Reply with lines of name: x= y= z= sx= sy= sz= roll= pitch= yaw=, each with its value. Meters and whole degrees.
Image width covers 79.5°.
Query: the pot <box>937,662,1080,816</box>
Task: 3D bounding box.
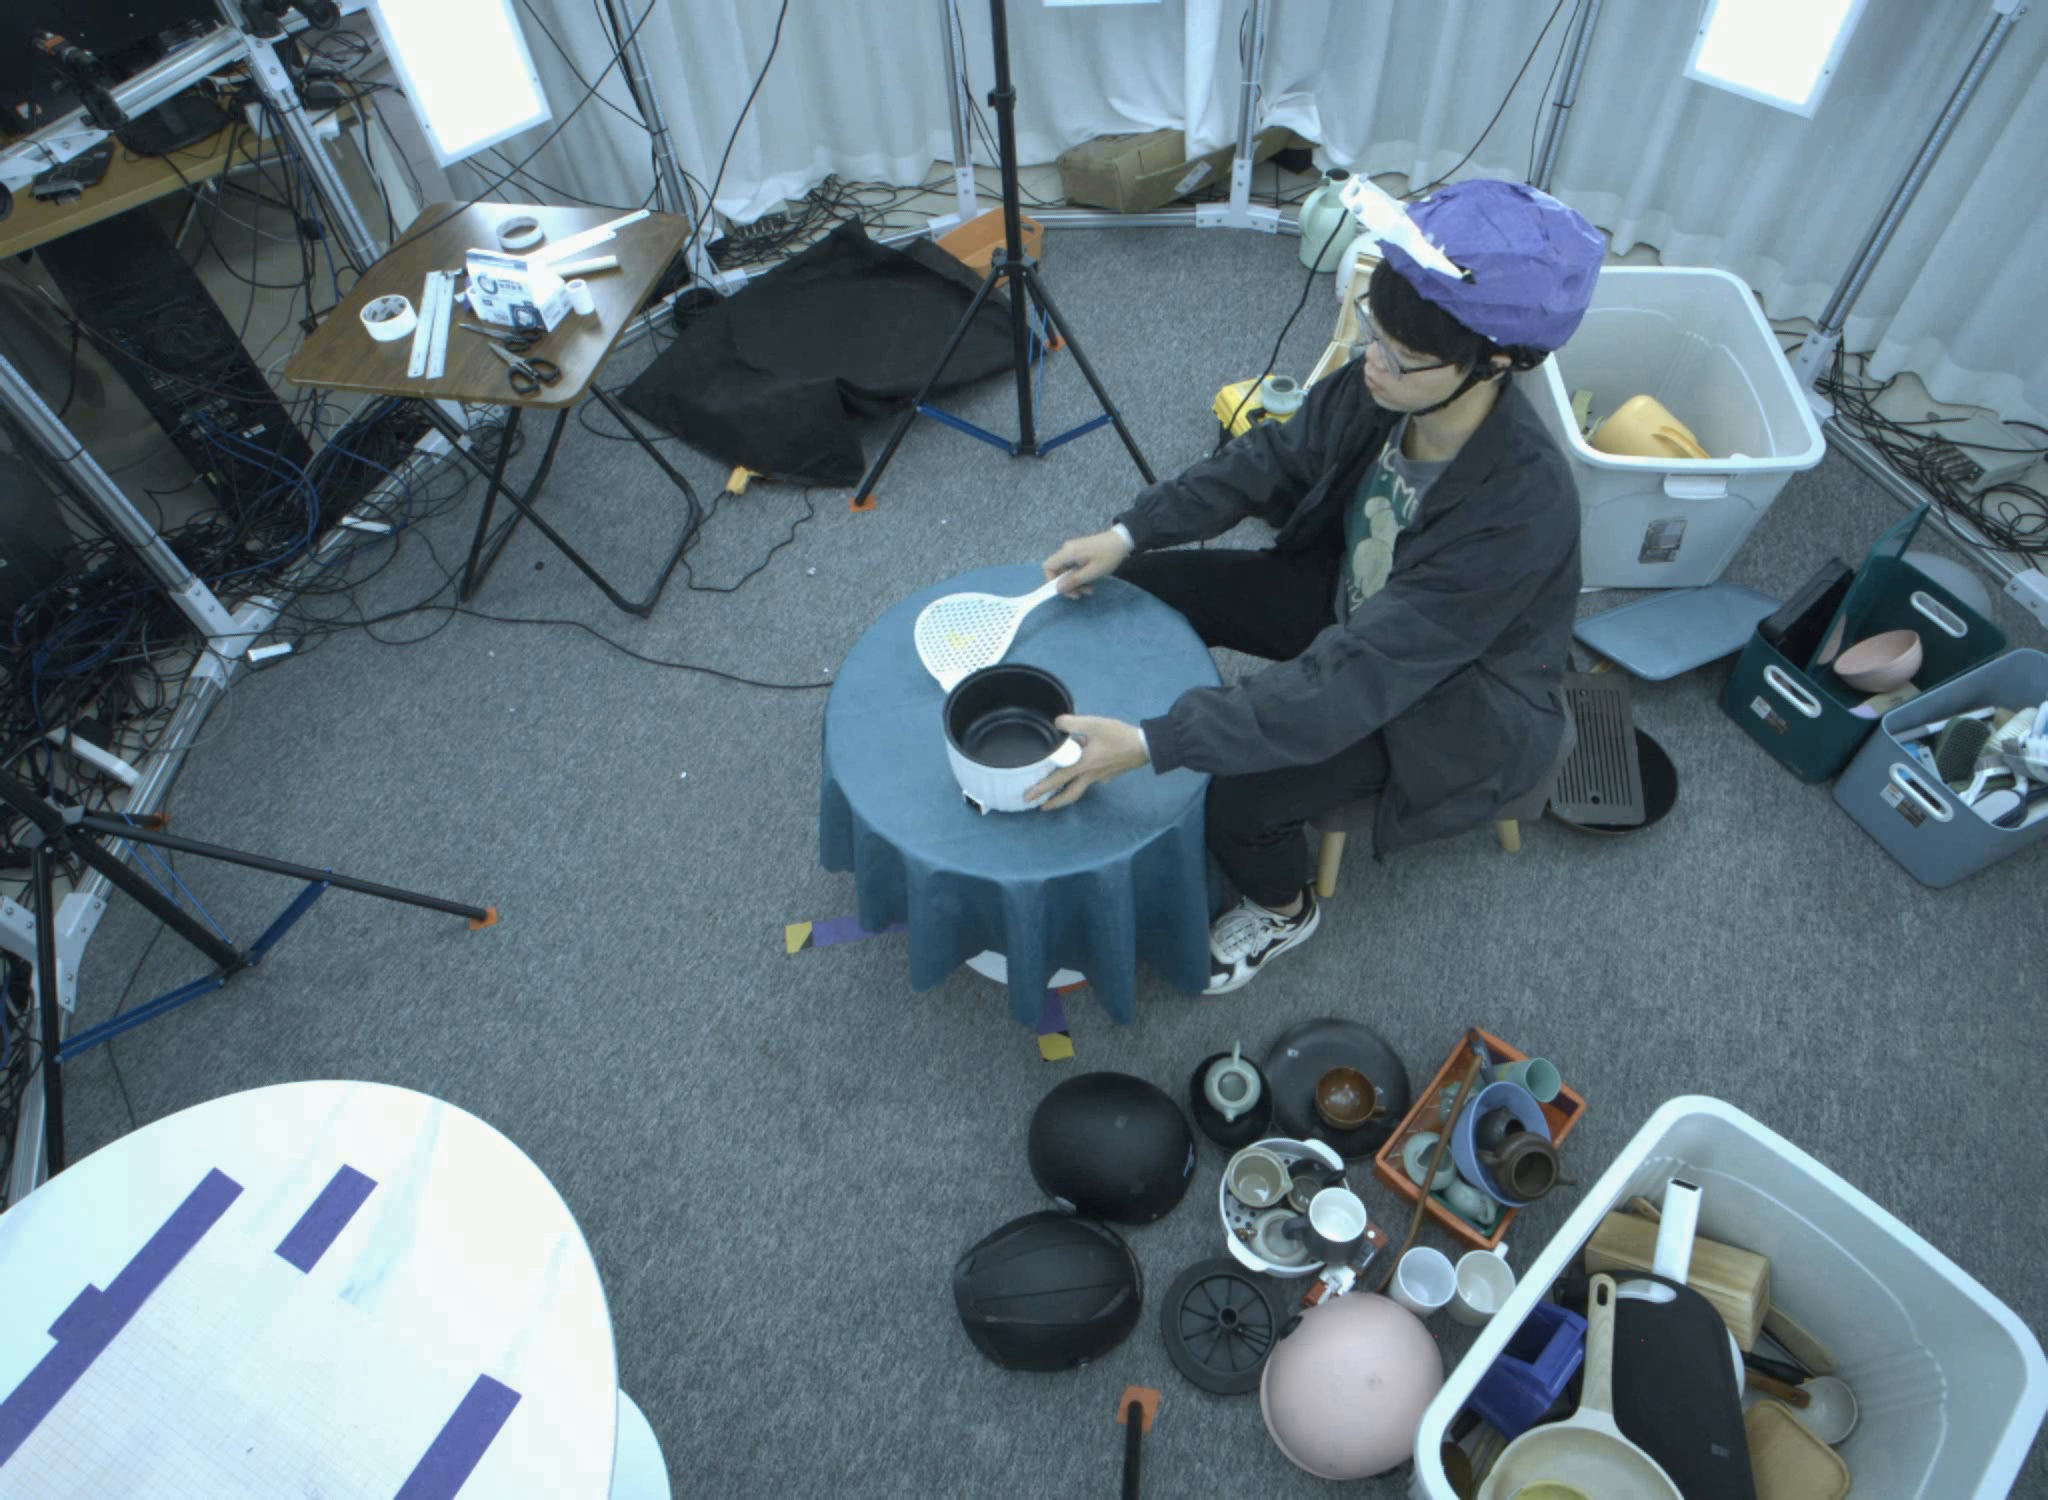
pot: x=-0.016 y=-0.015 z=1.704 sx=0.236 sy=0.144 sz=0.191 roll=34 pitch=66 yaw=22

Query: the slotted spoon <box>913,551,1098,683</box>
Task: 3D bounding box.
slotted spoon: x=-0.015 y=-0.218 z=1.888 sx=0.350 sy=0.049 sz=0.137 roll=-32 pitch=98 yaw=-17
